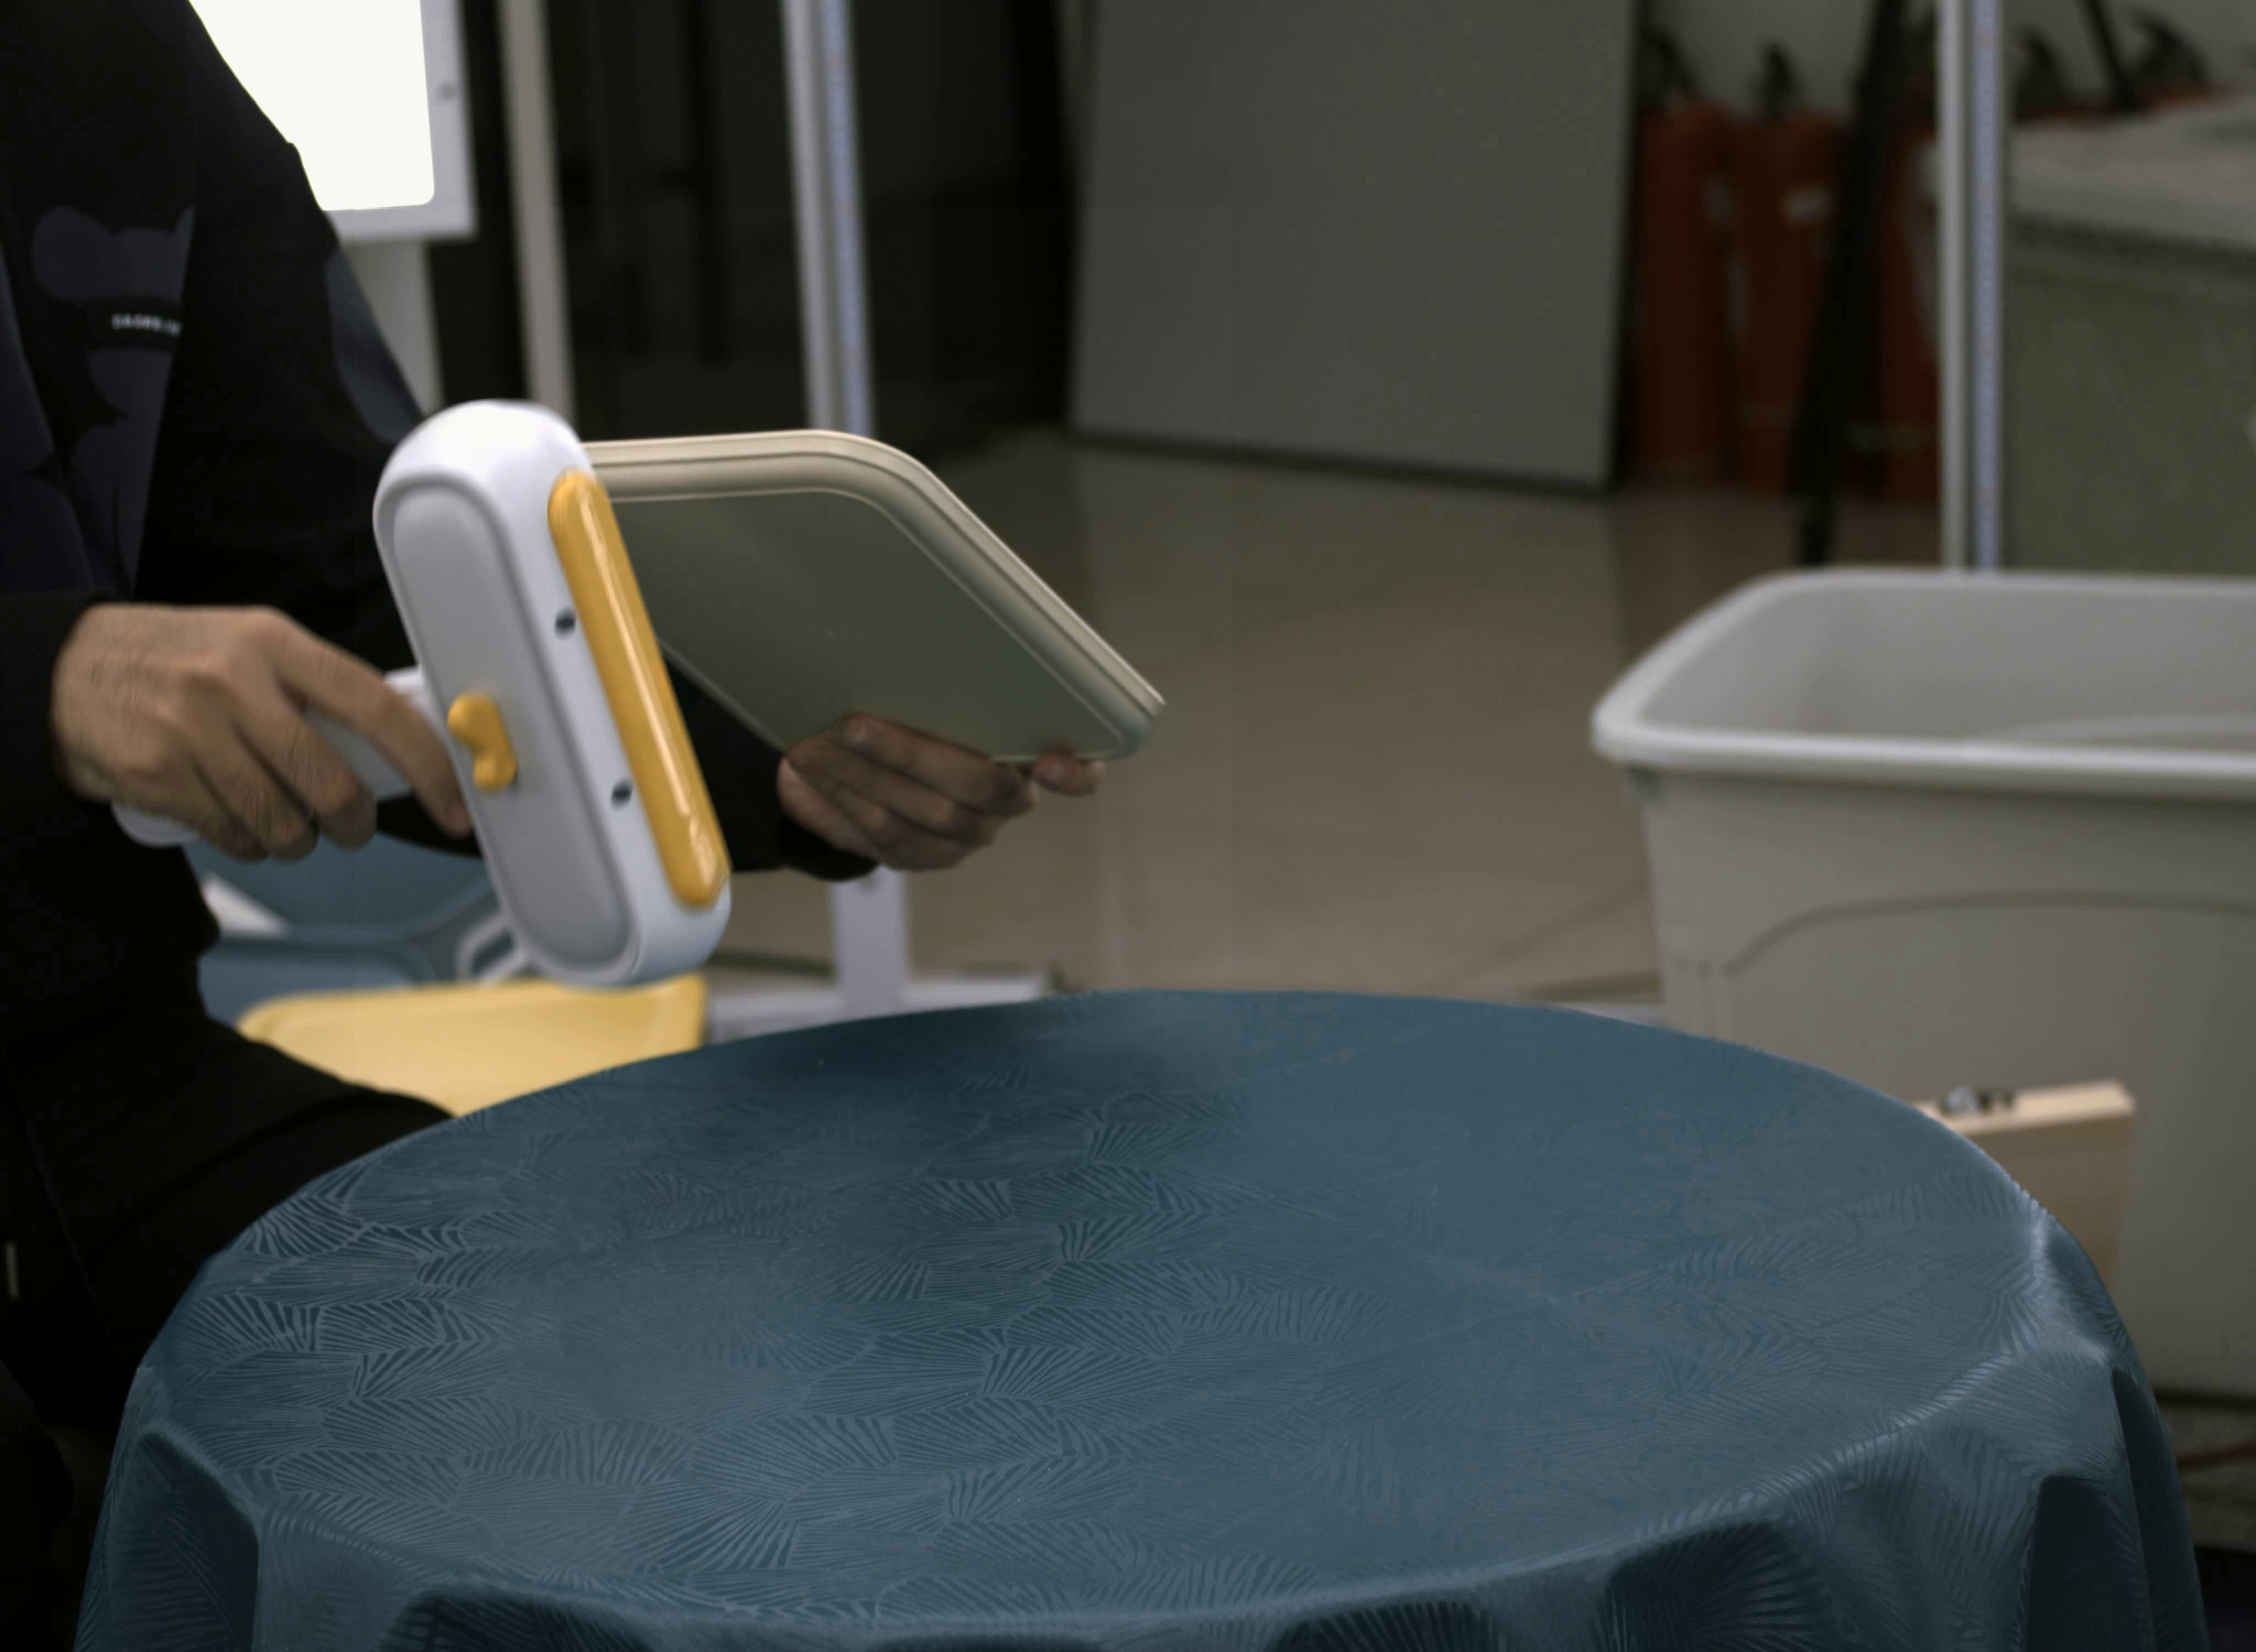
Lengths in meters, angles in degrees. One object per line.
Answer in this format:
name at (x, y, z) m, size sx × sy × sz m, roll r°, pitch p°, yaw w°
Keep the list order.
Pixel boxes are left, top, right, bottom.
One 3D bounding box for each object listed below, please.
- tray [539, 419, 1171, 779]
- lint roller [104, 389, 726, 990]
tray at (-0.100, -0.073, 1.887) m, size 0.172 × 0.017 × 0.236 m, roll -3°, pitch -27°, yaw 29°
lint roller at (-0.234, -0.027, 1.703) m, size 0.193 × 0.193 × 0.073 m, roll -12°, pitch 20°, yaw 31°
